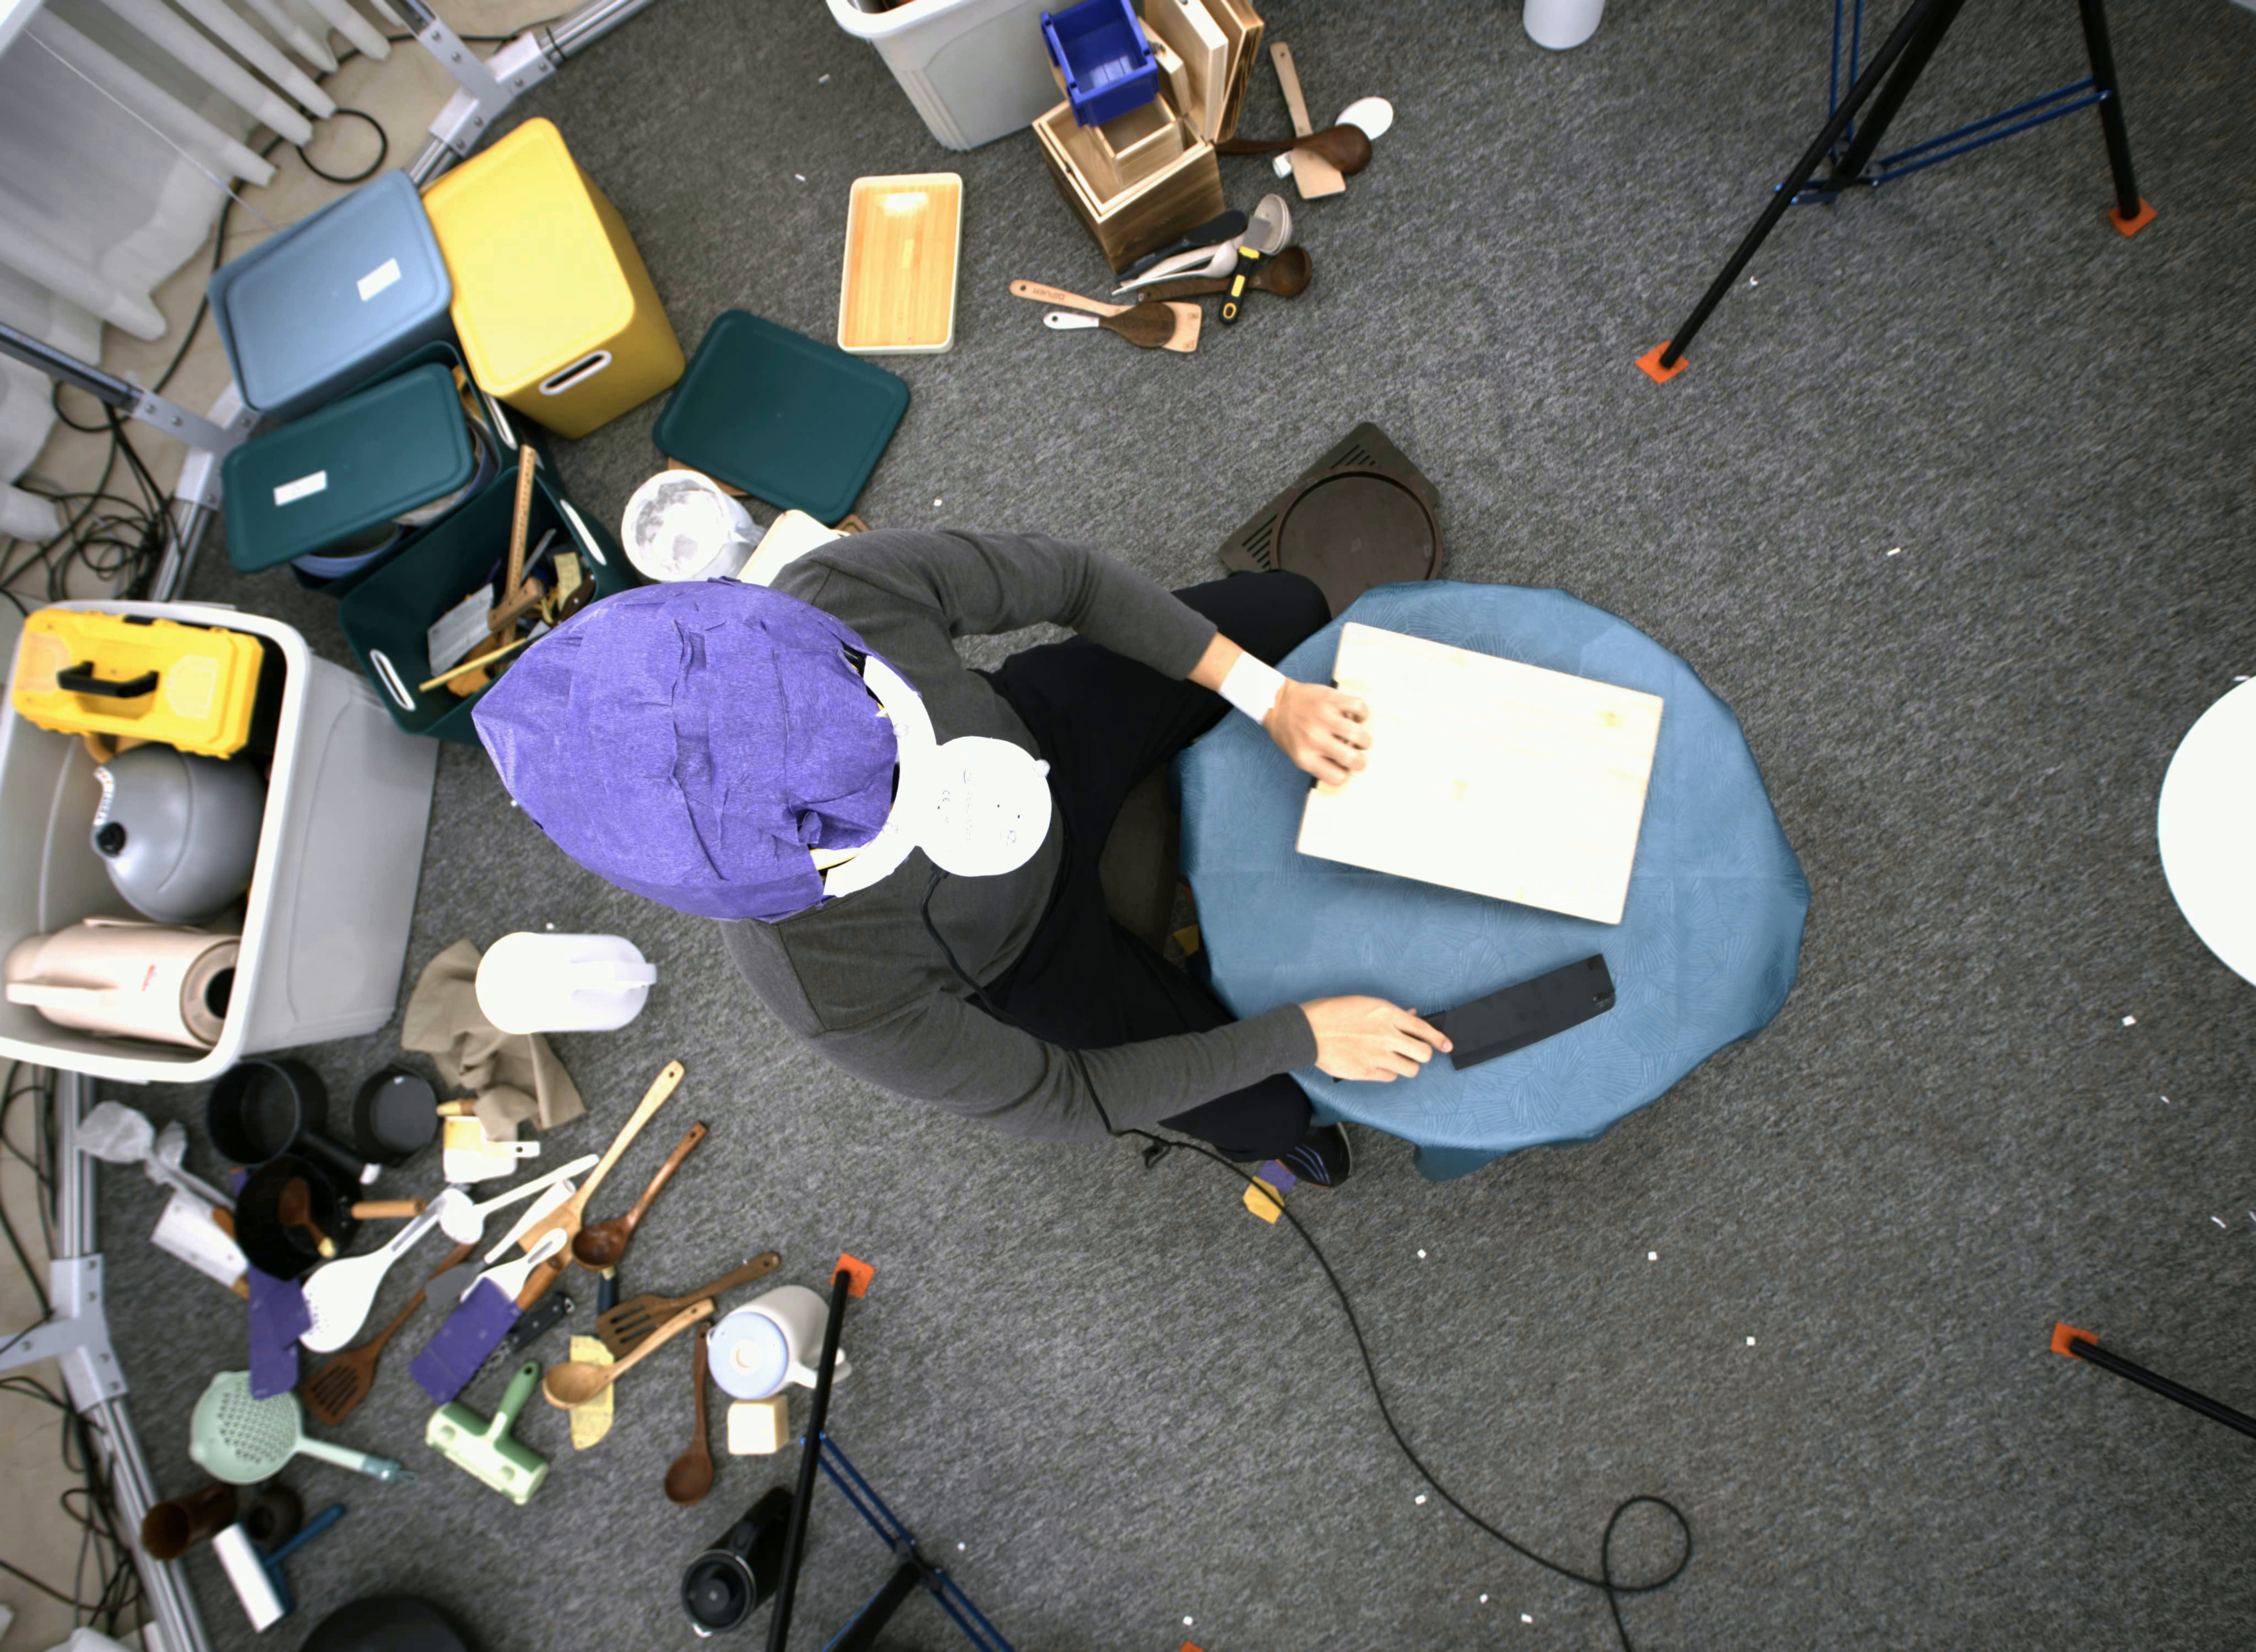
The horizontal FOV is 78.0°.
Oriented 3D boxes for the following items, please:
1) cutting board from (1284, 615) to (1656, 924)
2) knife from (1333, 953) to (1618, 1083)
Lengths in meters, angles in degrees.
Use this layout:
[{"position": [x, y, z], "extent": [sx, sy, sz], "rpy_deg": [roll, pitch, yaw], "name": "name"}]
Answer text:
[{"position": [0.351, -0.058, 1.399], "extent": [0.349, 0.023, 0.250], "rpy_deg": [12, 89, -4], "name": "cutting board"}, {"position": [0.354, 0.206, 1.416], "extent": [0.303, 0.020, 0.081], "rpy_deg": [-17, 101, 5], "name": "knife"}]
